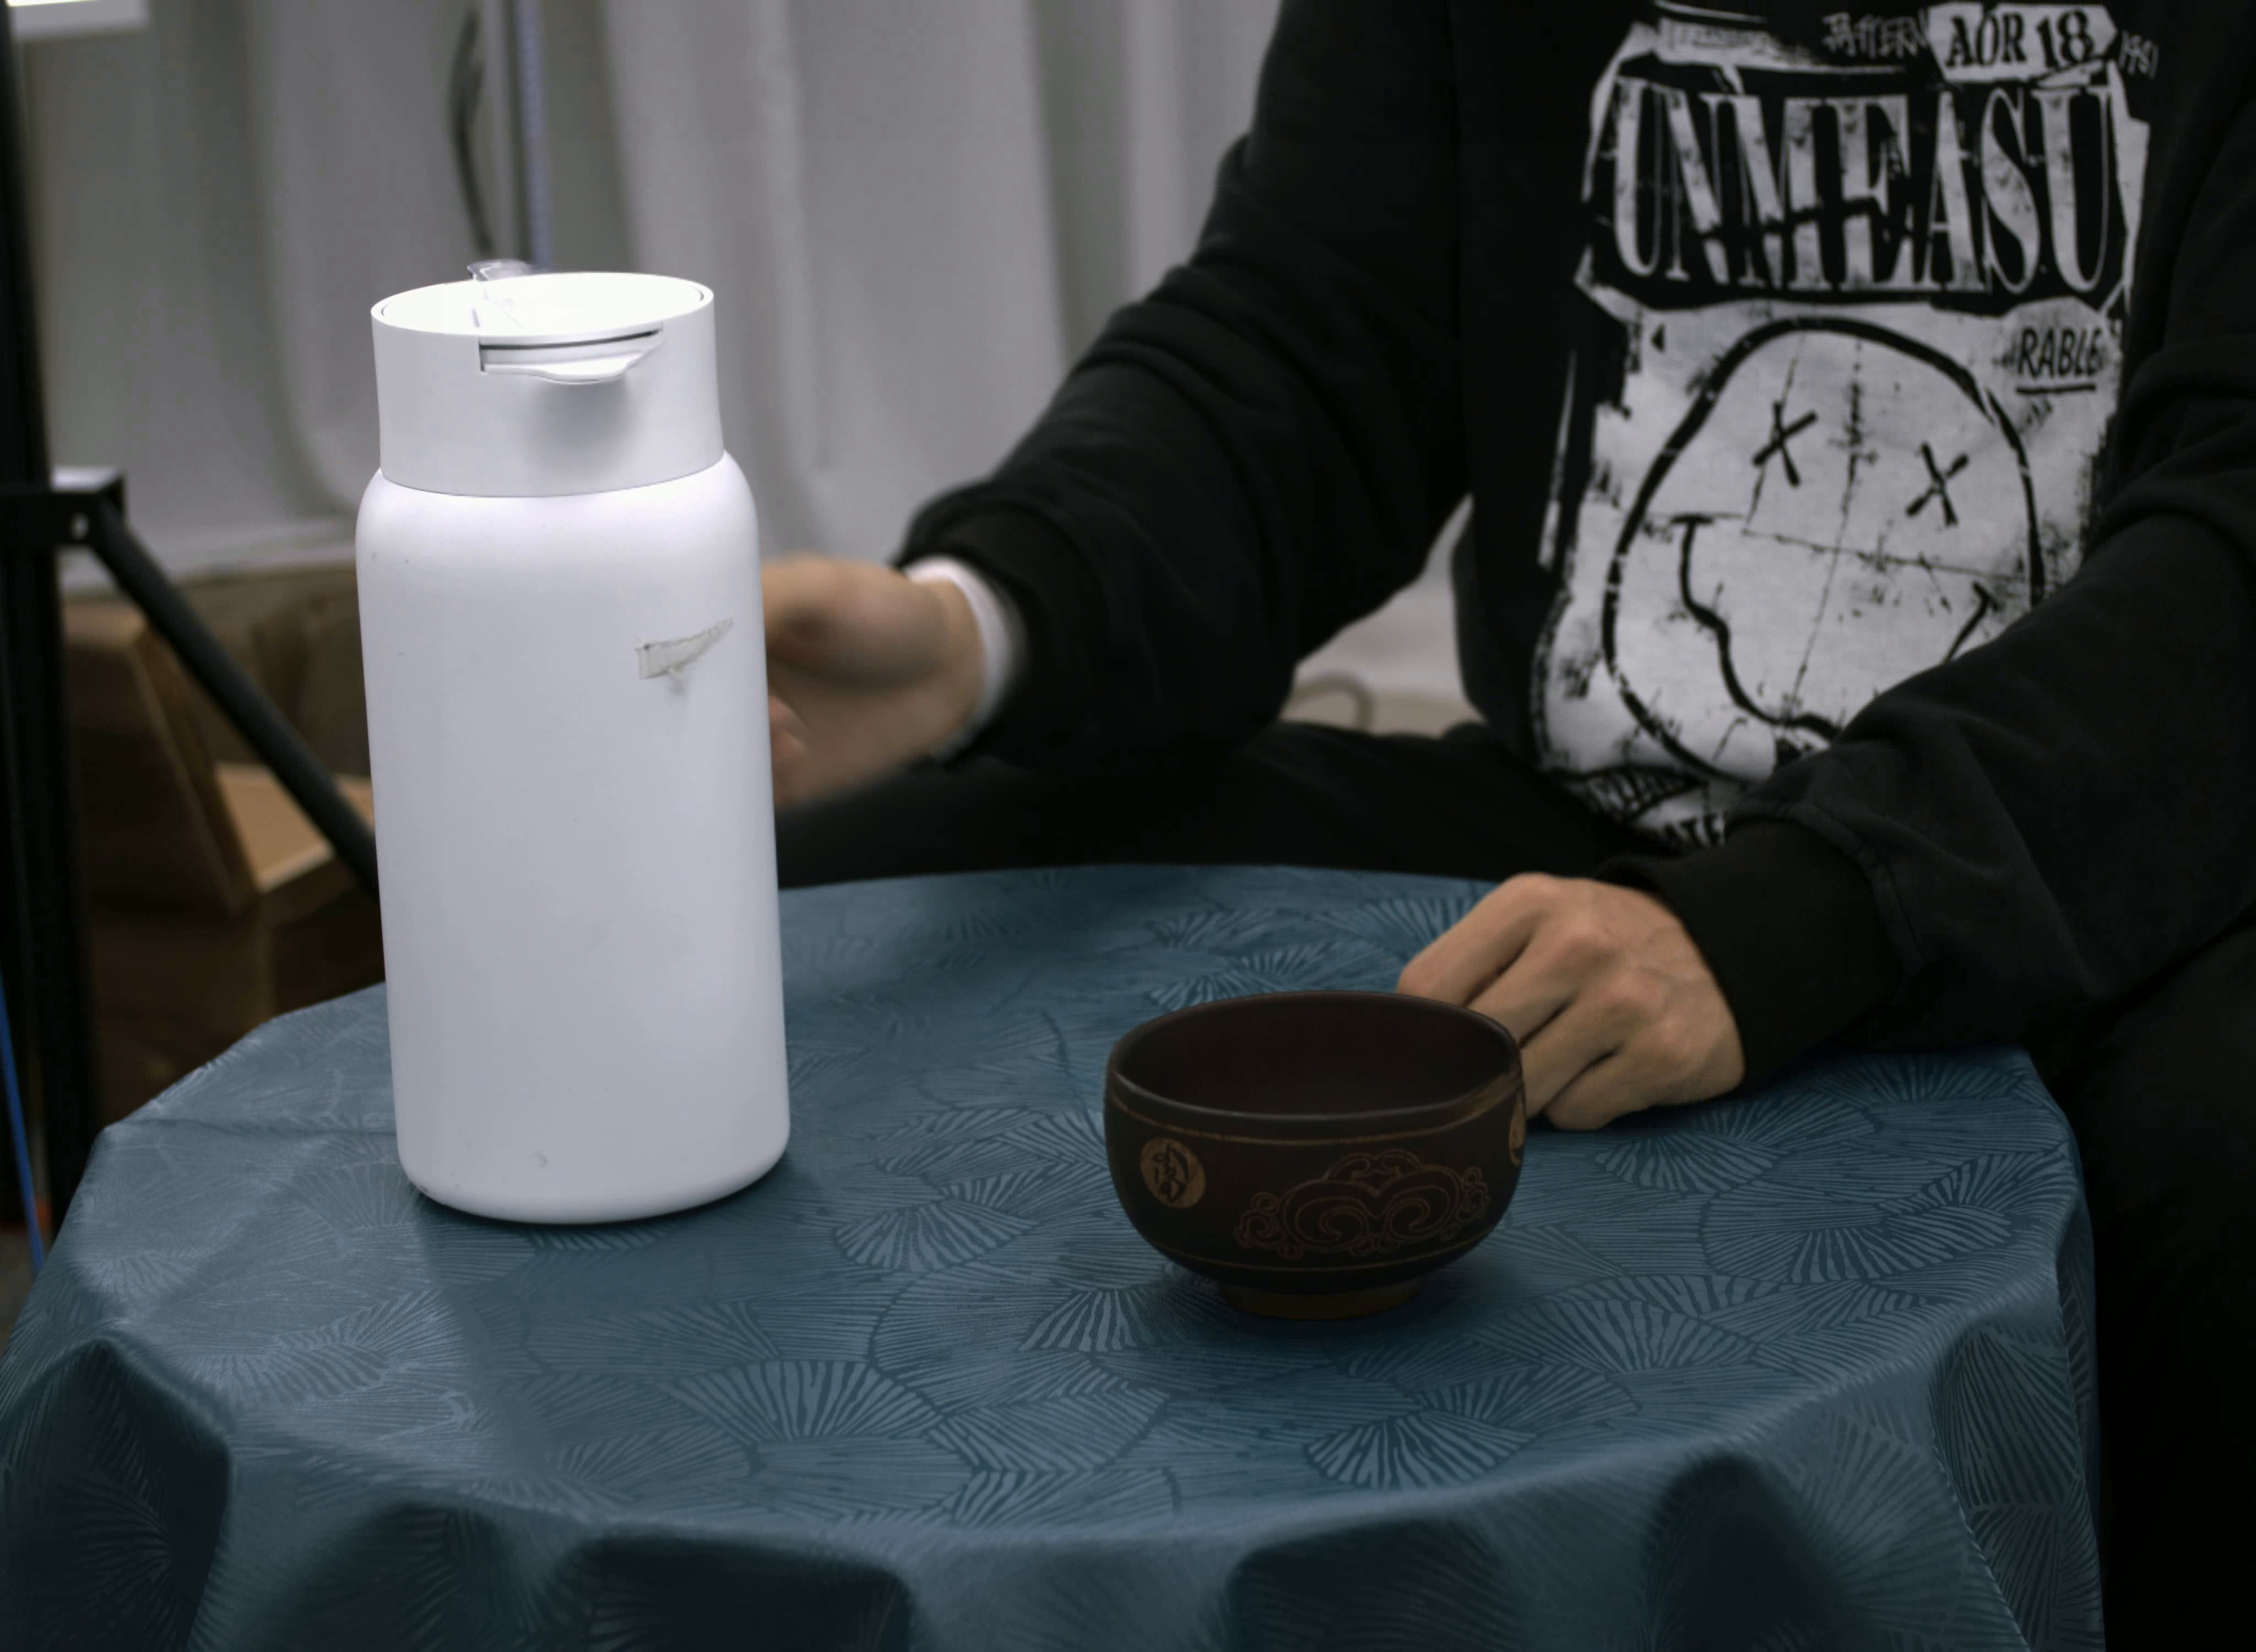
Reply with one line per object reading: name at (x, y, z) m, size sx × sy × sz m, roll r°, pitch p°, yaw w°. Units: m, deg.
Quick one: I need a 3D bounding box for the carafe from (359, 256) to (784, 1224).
carafe at (-0.170, -0.029, 1.580) m, size 0.122 × 0.269 × 0.175 m, roll -8°, pitch 16°, yaw -16°

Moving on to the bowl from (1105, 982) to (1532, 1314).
bowl at (0.053, 0.093, 1.463) m, size 0.117 × 0.070 × 0.118 m, roll -3°, pitch 15°, yaw -1°
